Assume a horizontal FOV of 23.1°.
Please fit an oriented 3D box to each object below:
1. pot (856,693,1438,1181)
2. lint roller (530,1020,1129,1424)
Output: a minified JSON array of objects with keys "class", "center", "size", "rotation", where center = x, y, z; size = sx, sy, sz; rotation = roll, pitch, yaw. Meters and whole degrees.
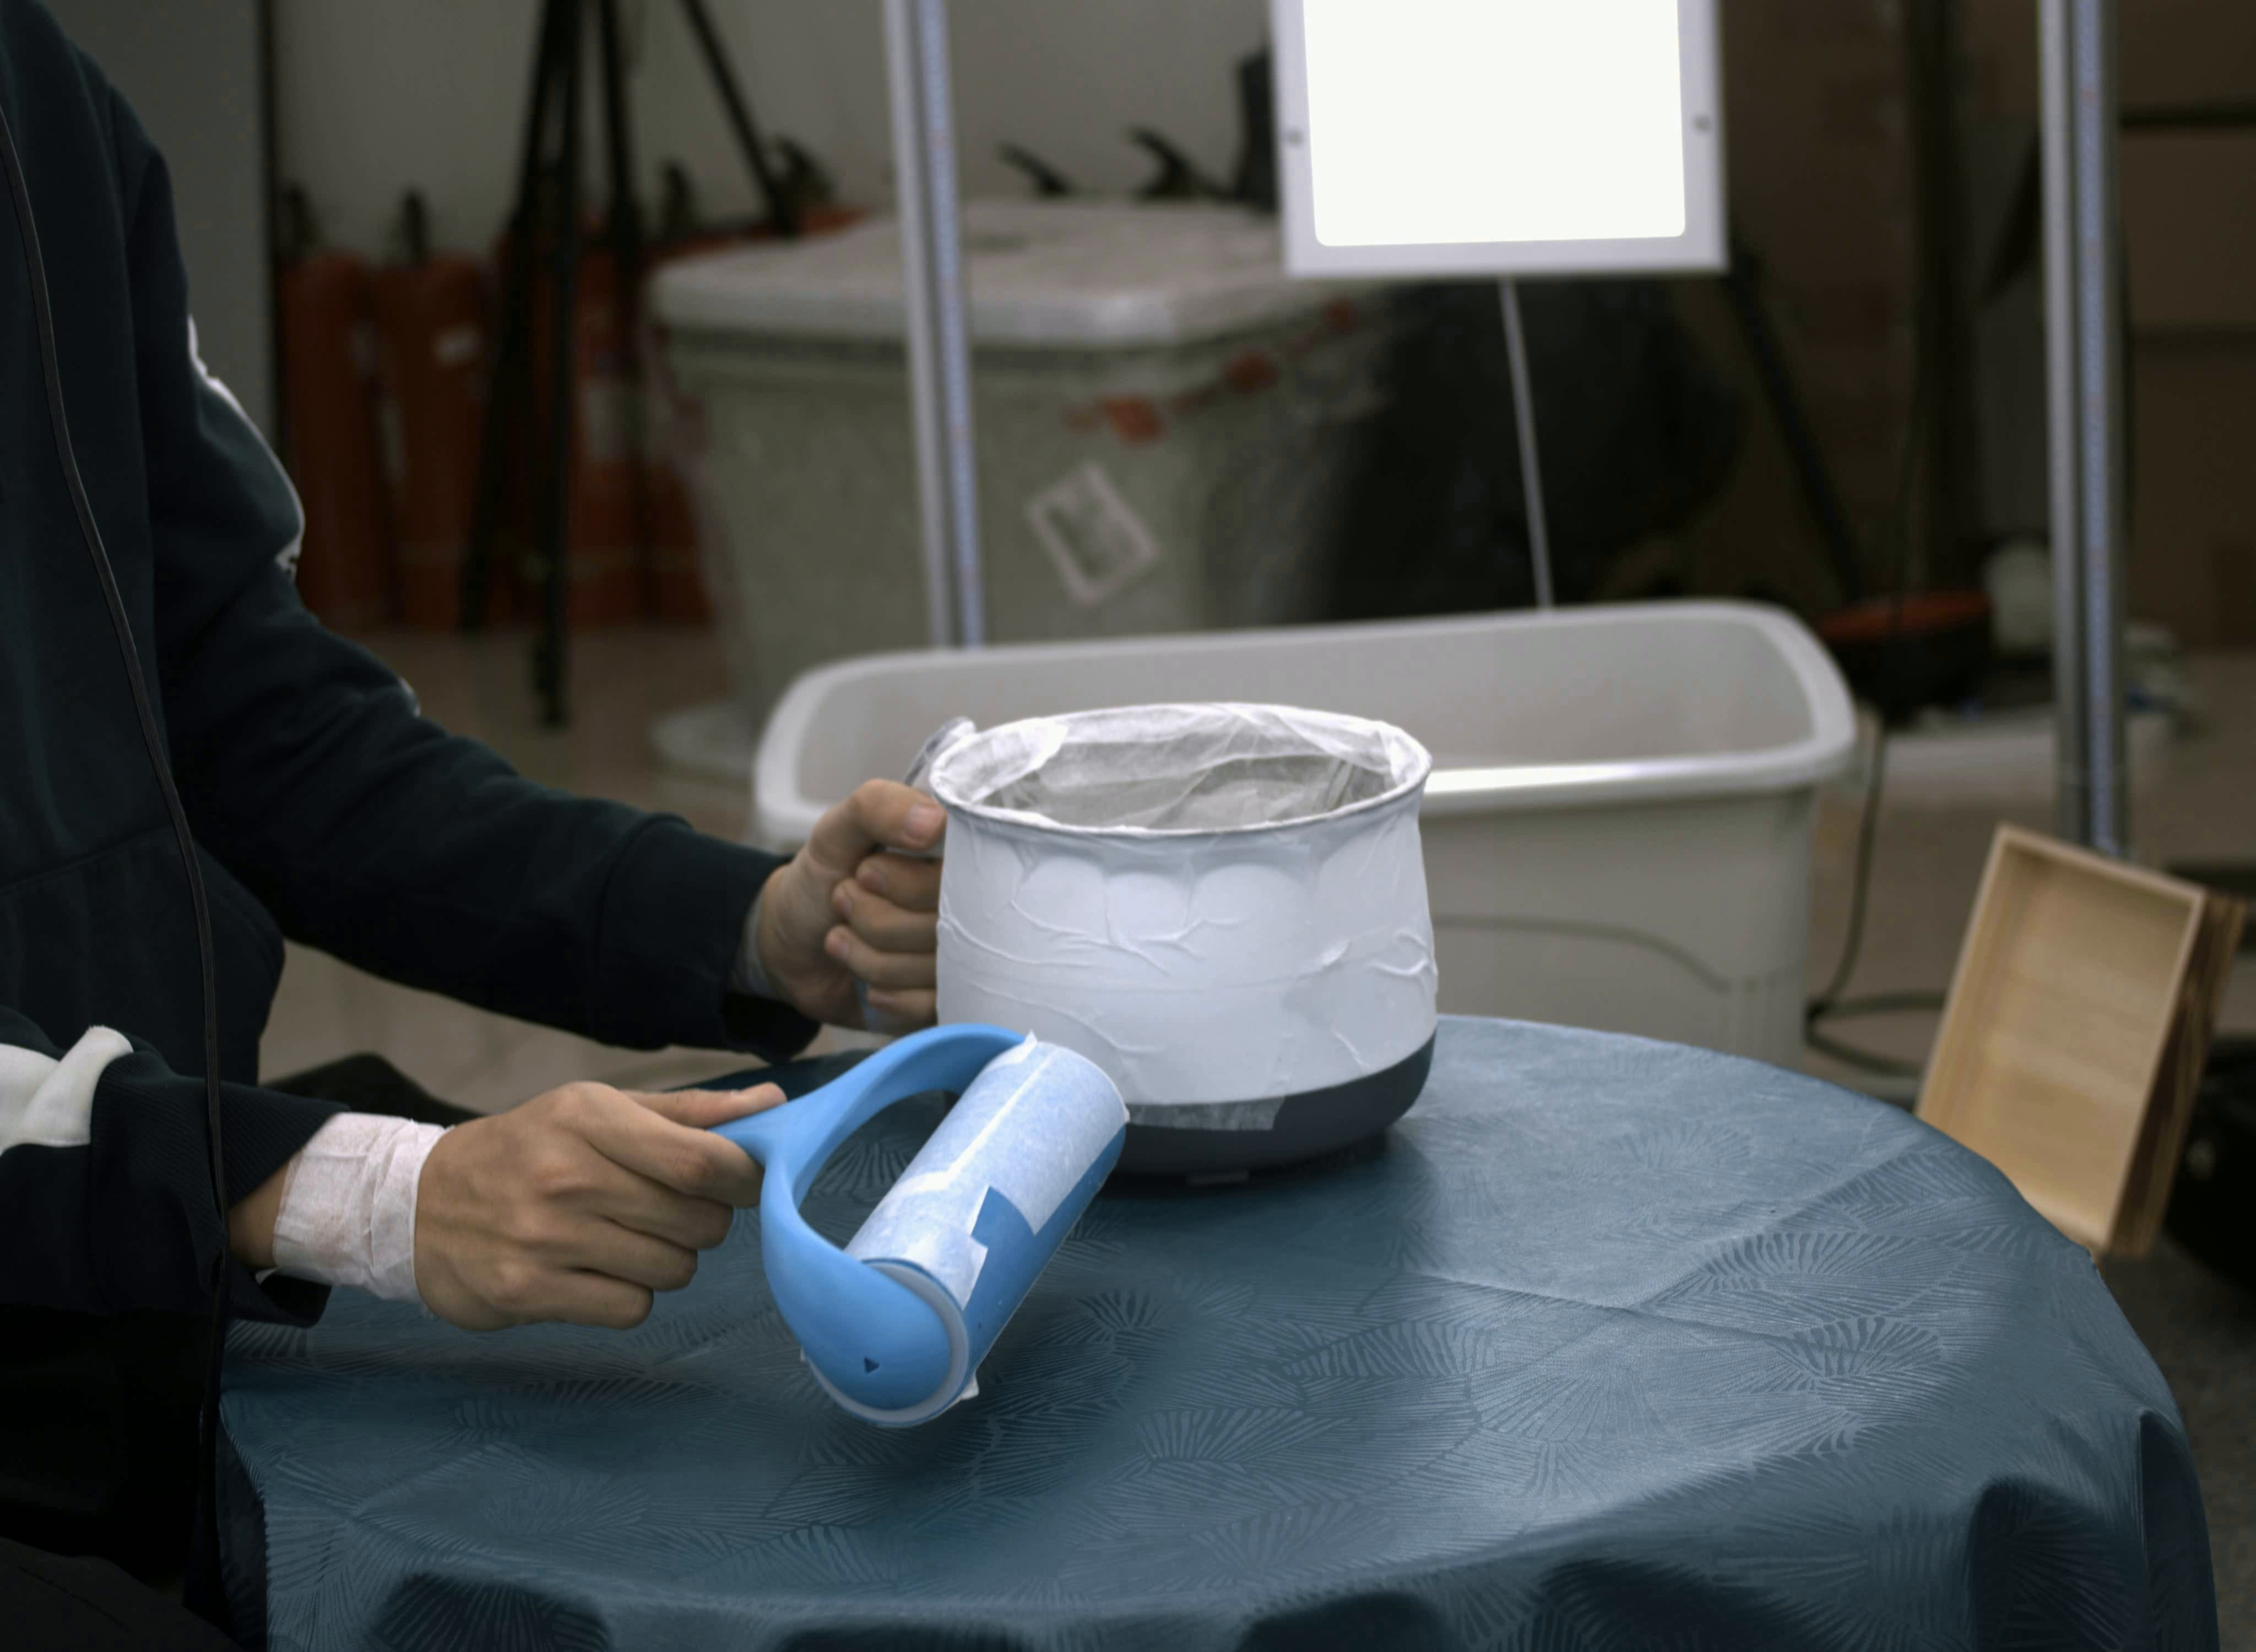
[{"class":"pot","center":[-0.002,0.033,1.949],"size":[0.238,0.137,0.174],"rotation":[10,19,37]},{"class":"lint roller","center":[-0.103,0.121,1.724],"size":[0.181,0.068,0.226],"rotation":[0,19,11]}]
